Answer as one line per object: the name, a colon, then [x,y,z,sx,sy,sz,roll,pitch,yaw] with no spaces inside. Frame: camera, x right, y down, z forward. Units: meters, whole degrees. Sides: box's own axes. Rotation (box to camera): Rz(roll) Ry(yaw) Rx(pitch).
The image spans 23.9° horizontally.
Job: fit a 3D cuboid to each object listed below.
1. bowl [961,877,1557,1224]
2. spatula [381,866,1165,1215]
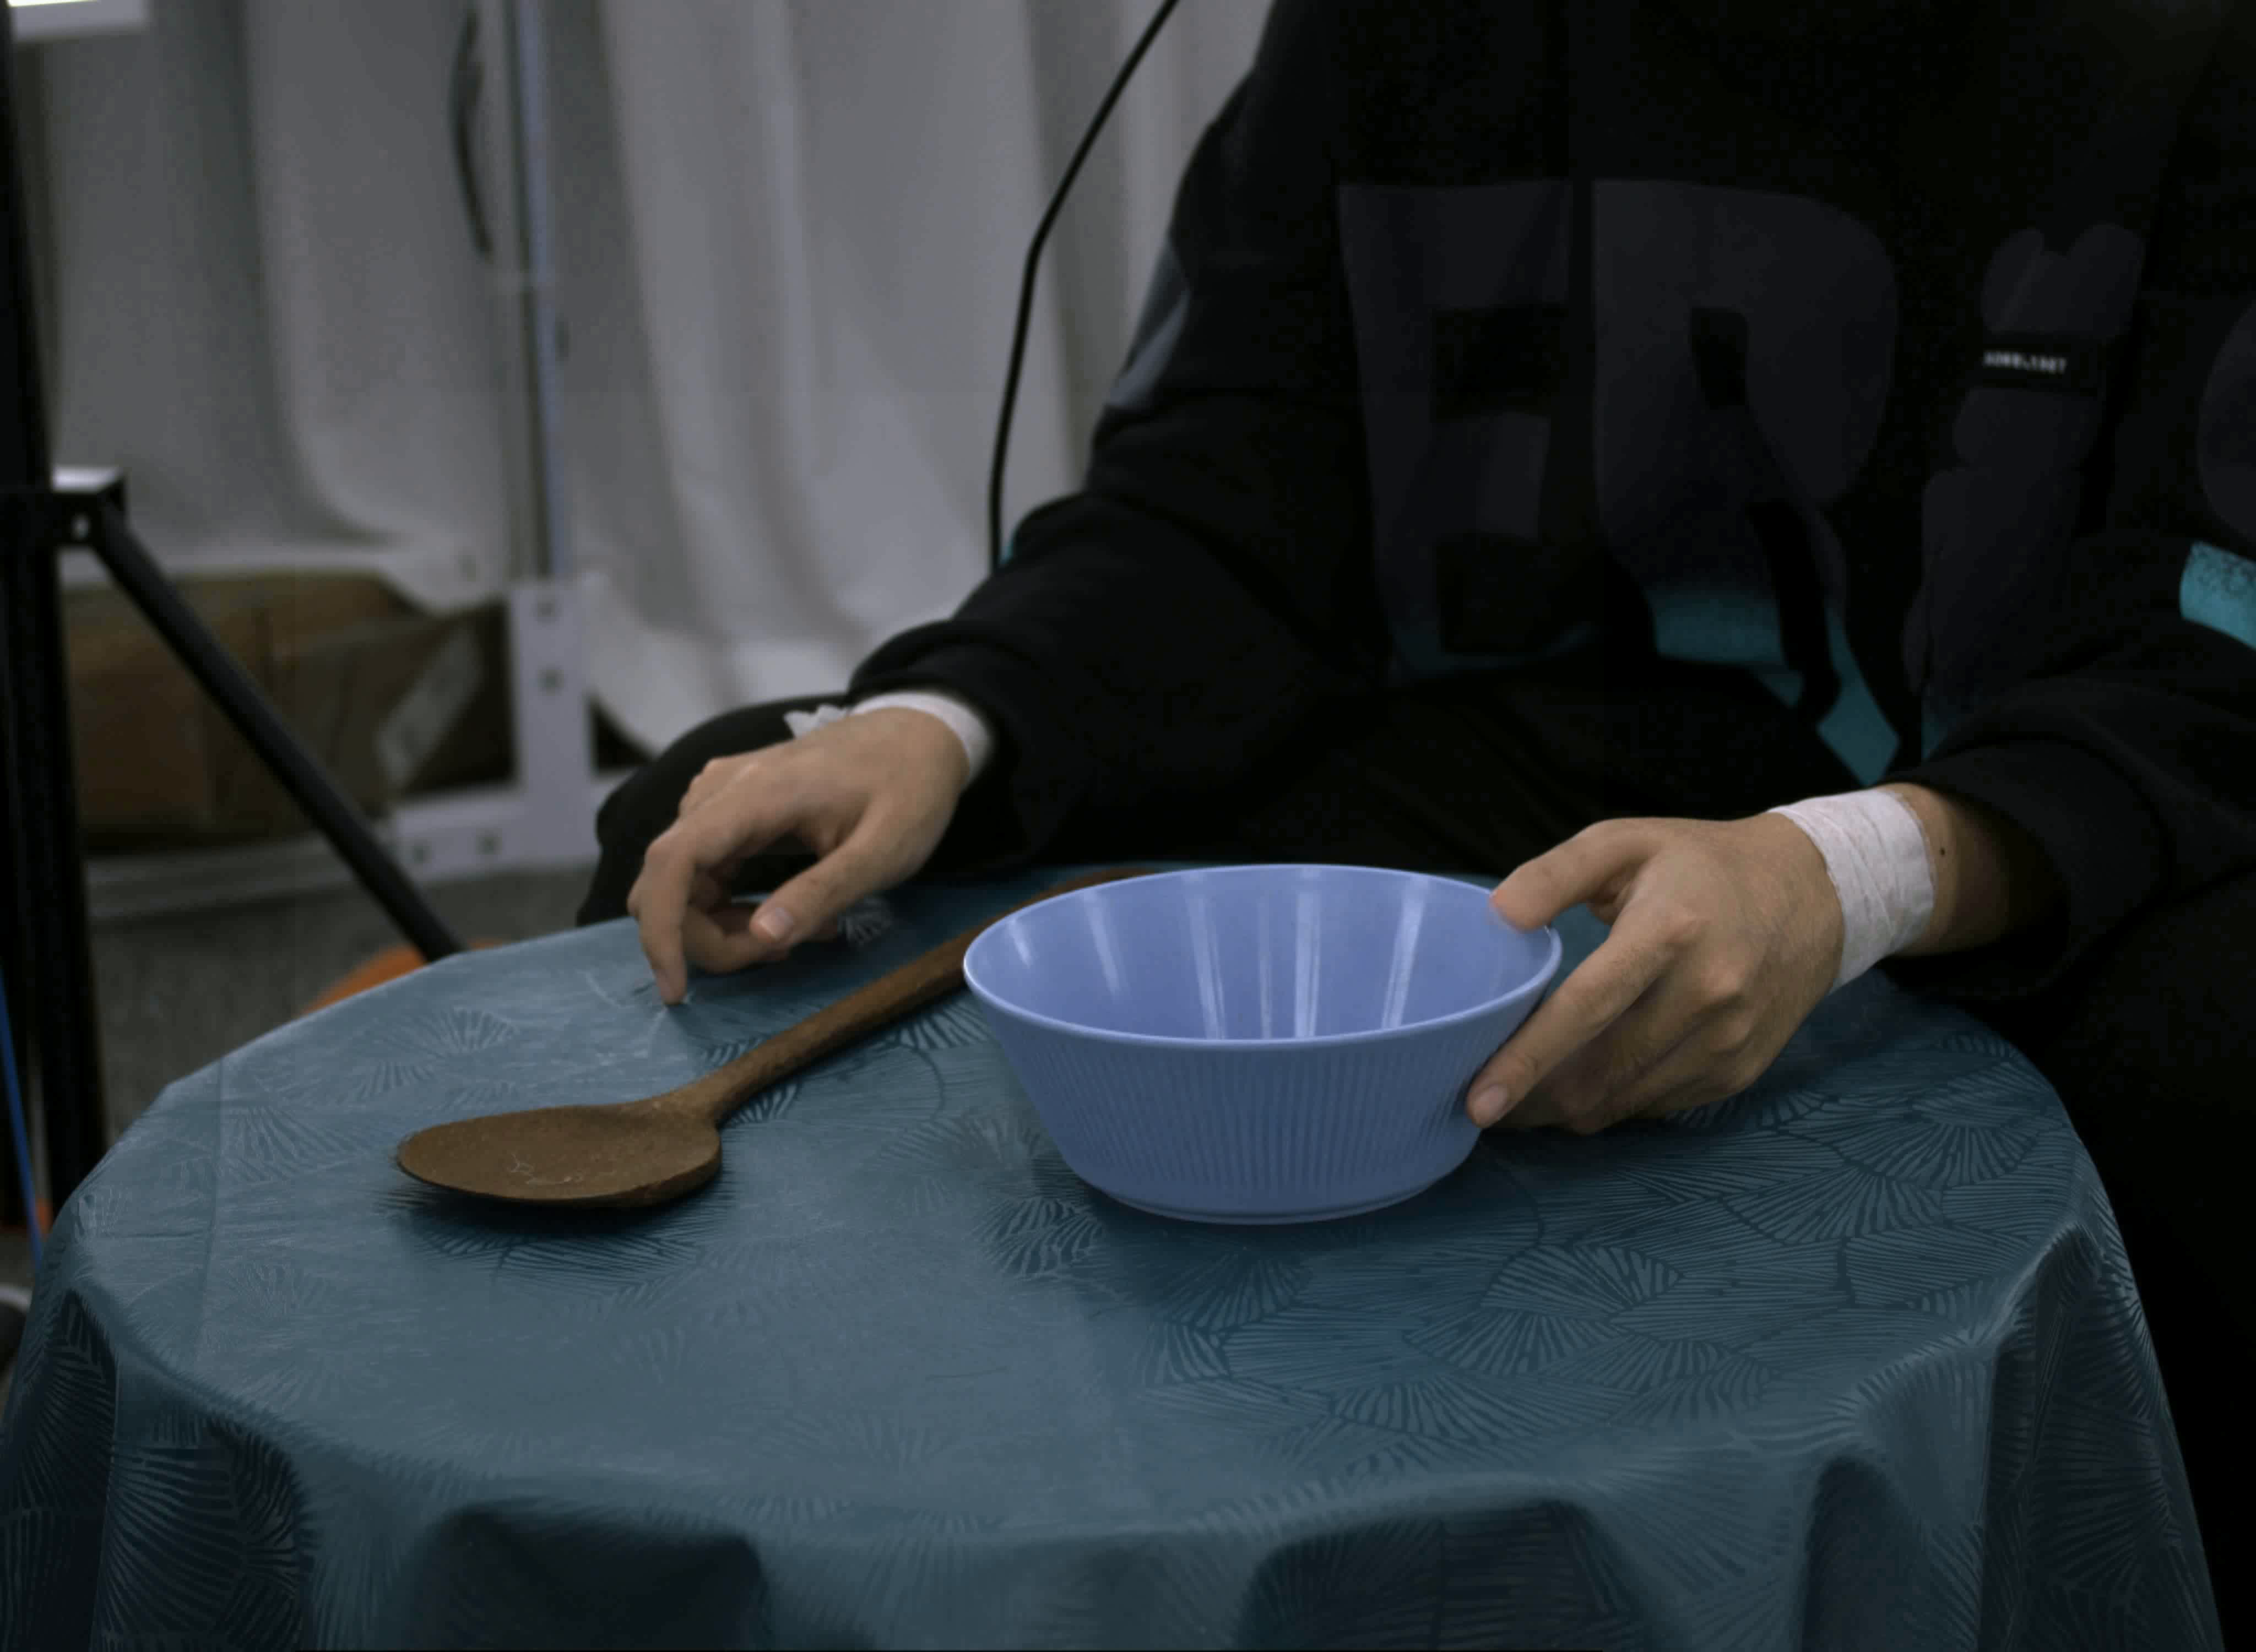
bowl: [0.039,0.068,1.566,0.175,0.070,0.177,-2,15,-1]
spatula: [-0.092,0.063,1.707,0.098,0.016,0.379,8,19,31]
